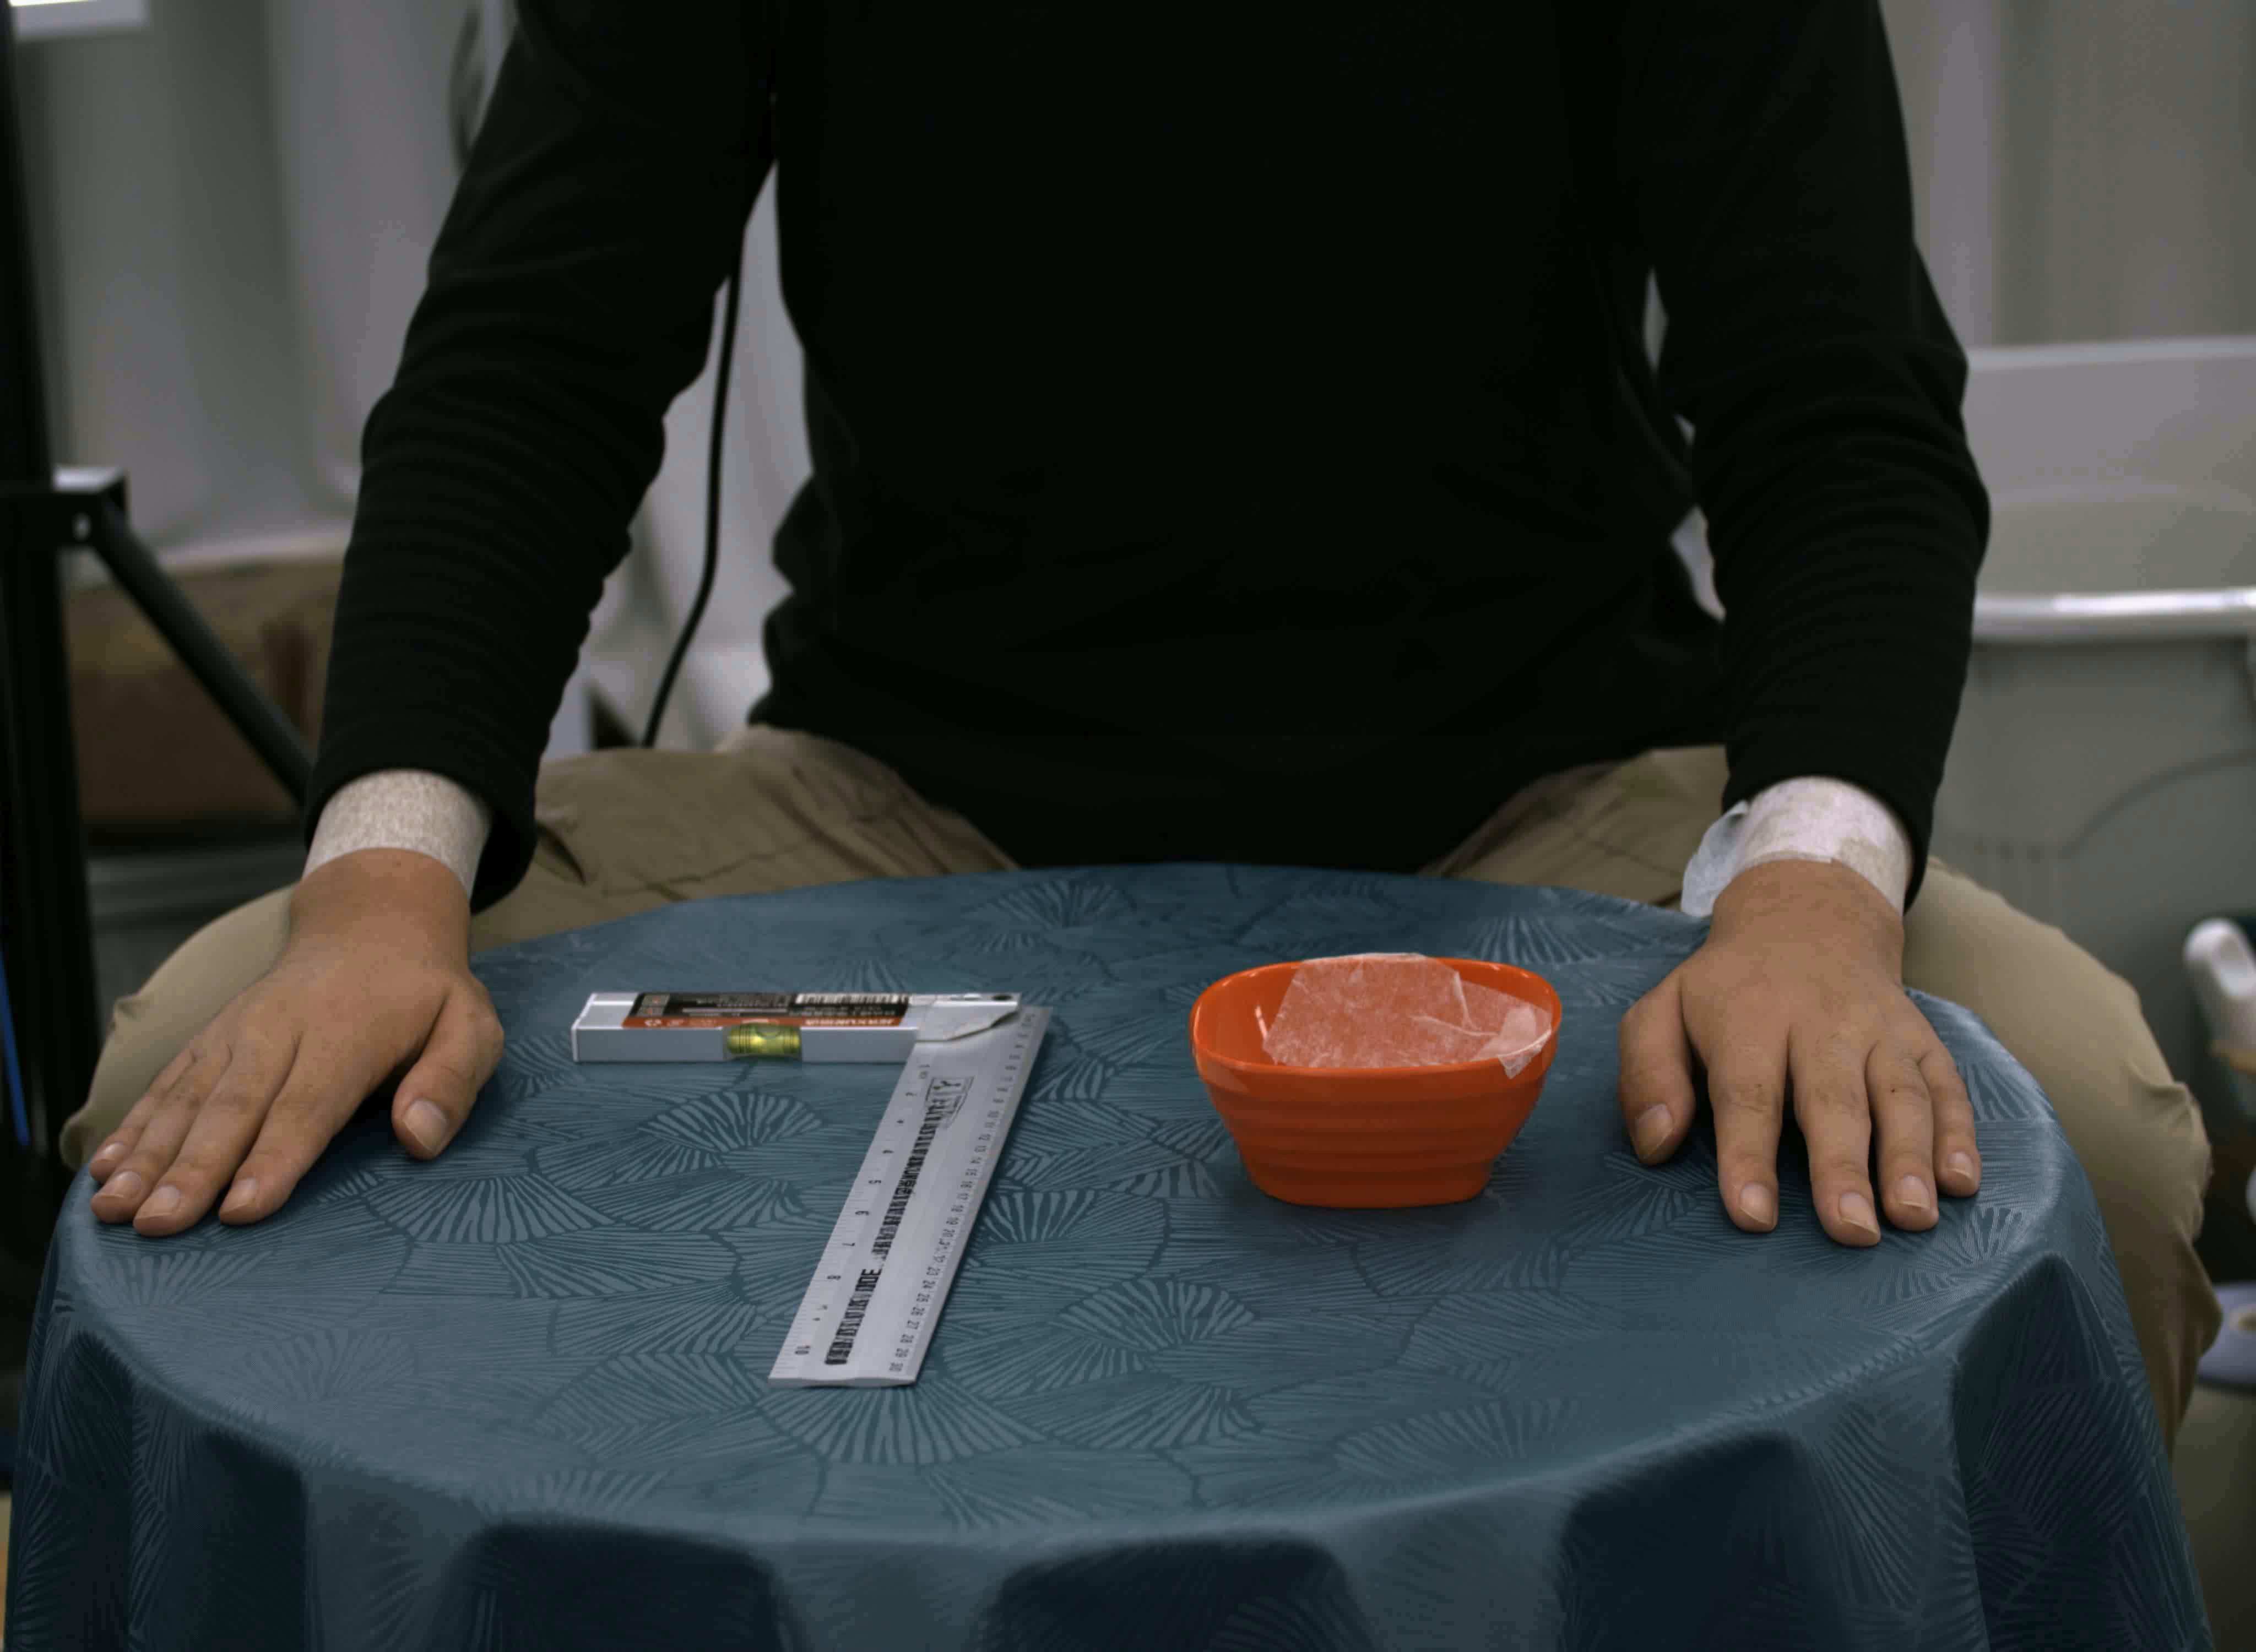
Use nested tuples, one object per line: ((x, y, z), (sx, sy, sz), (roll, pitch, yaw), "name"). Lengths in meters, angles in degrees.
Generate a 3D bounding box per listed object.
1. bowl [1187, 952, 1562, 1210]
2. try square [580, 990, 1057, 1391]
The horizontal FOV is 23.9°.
((0.074, 0.077, 1.557), (0.118, 0.051, 0.119), (-4, 16, 0), "bowl")
((-0.112, 0.107, 1.577), (0.152, 0.016, 0.312), (-4, 17, 8), "try square")
